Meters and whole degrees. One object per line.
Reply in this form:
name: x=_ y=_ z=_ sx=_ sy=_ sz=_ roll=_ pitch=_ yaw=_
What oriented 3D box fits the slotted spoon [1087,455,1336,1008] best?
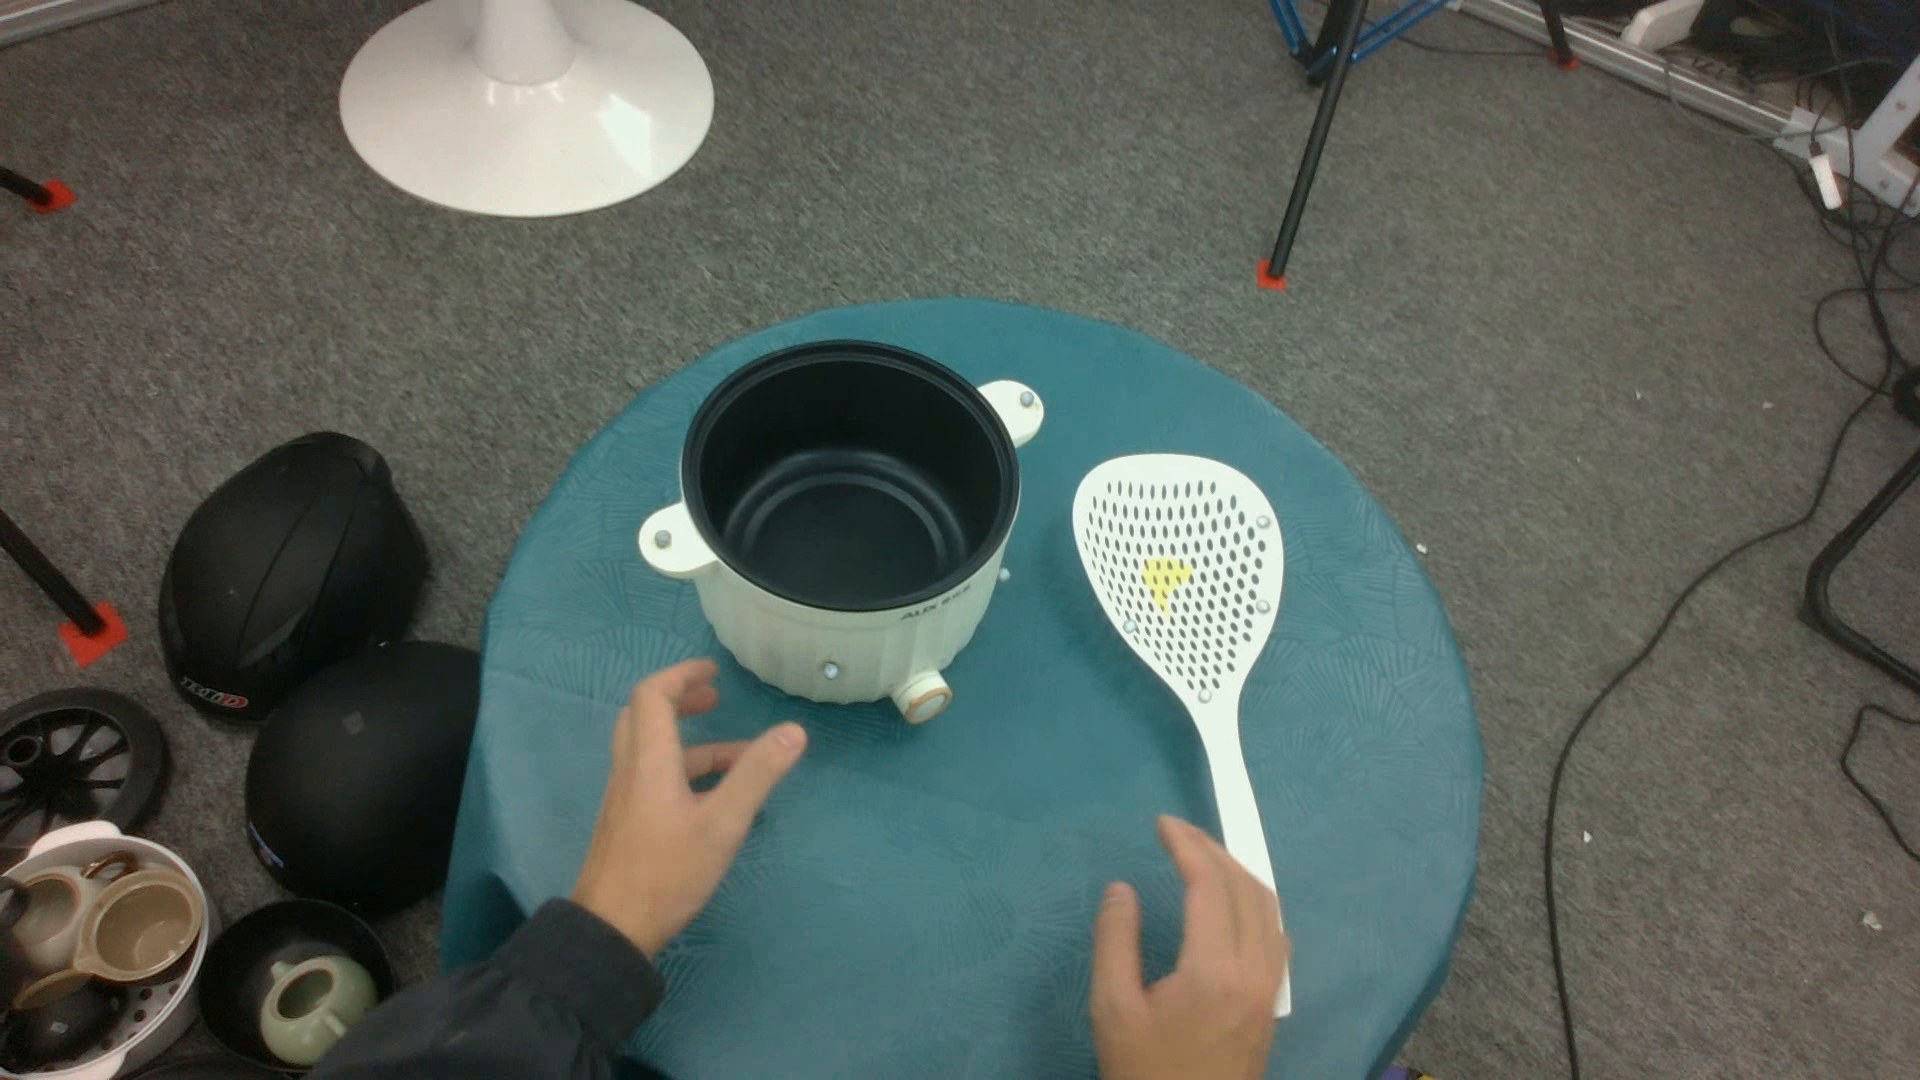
slotted spoon: x=0.163 y=0.097 z=0.818 sx=0.137 sy=0.050 sz=0.349 roll=-4 pitch=54 yaw=-10

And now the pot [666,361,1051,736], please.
pot: x=-0.050 y=0.013 z=0.801 sx=0.241 sy=0.142 sz=0.191 roll=-27 pitch=58 yaw=-21
